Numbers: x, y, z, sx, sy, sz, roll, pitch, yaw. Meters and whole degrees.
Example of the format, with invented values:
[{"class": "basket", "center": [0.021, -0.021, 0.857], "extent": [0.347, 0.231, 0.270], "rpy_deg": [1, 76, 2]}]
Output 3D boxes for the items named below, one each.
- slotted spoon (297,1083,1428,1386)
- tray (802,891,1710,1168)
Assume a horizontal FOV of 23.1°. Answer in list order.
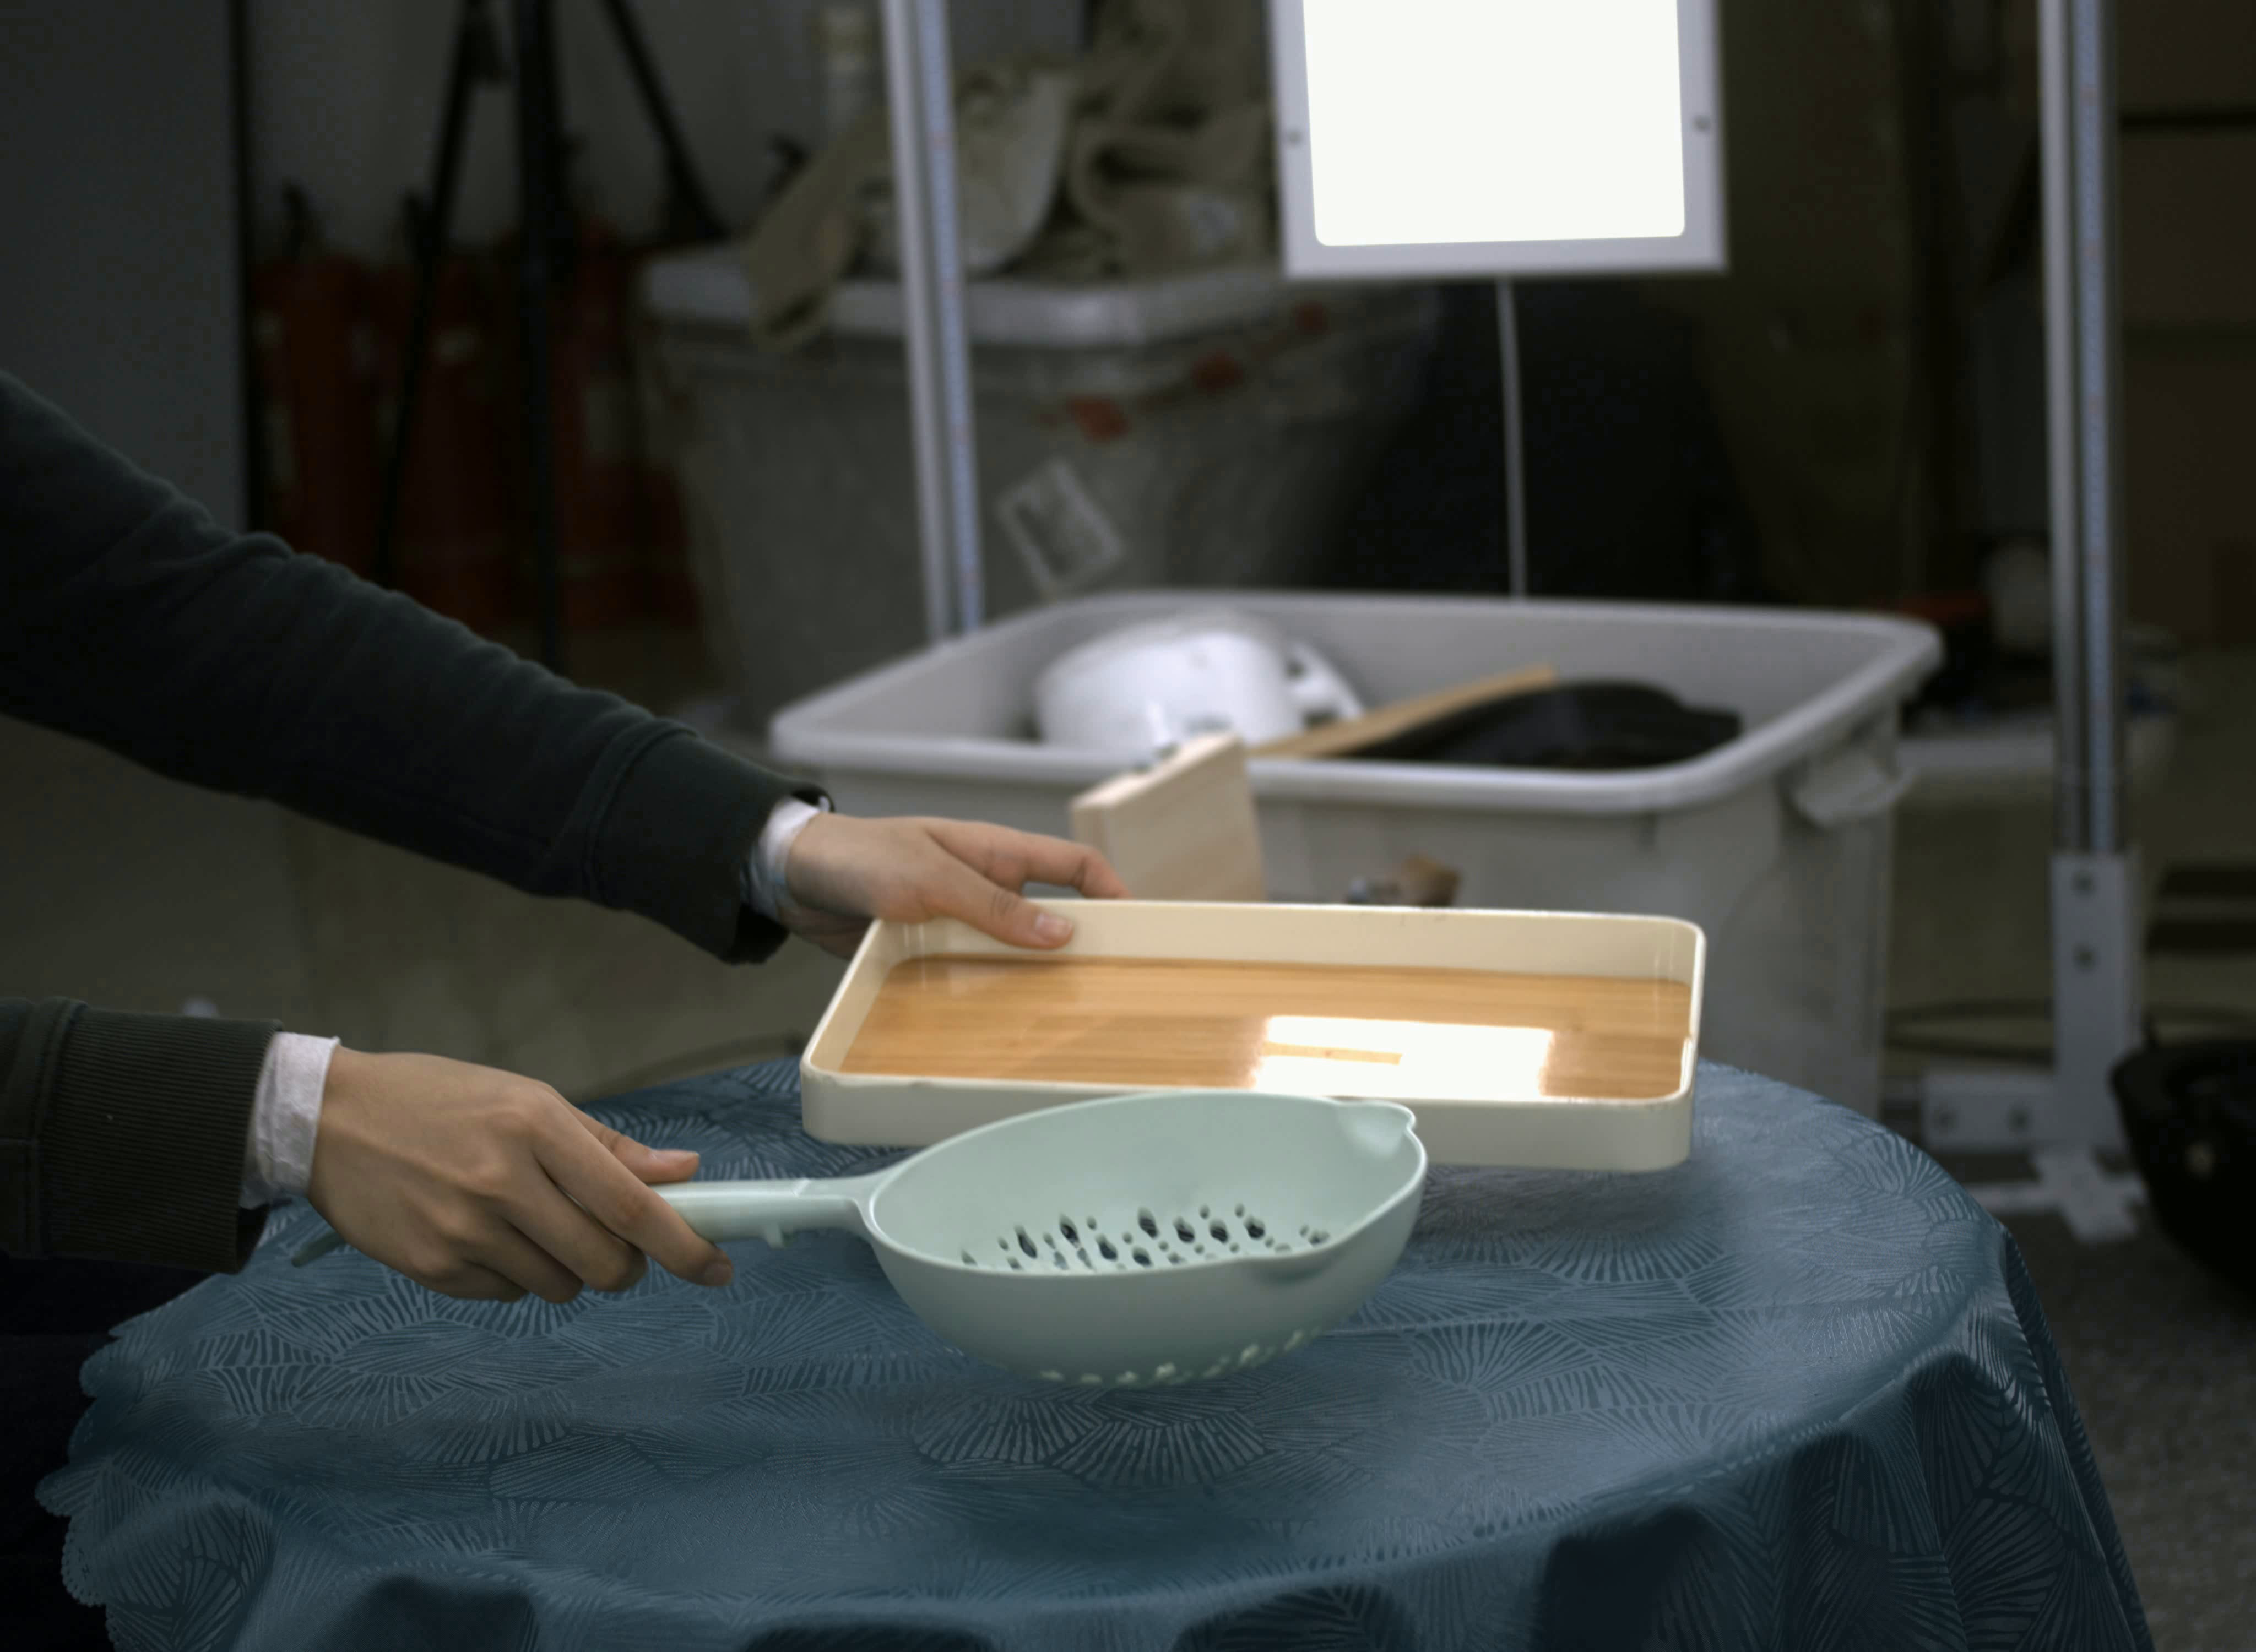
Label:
[{"class": "slotted spoon", "center": [-0.087, 0.120, 1.682], "extent": [0.362, 0.076, 0.167], "rpy_deg": [5, 16, 15]}, {"class": "tray", "center": [0.049, 0.069, 1.897], "extent": [0.302, 0.027, 0.189], "rpy_deg": [2, 18, 9]}]
